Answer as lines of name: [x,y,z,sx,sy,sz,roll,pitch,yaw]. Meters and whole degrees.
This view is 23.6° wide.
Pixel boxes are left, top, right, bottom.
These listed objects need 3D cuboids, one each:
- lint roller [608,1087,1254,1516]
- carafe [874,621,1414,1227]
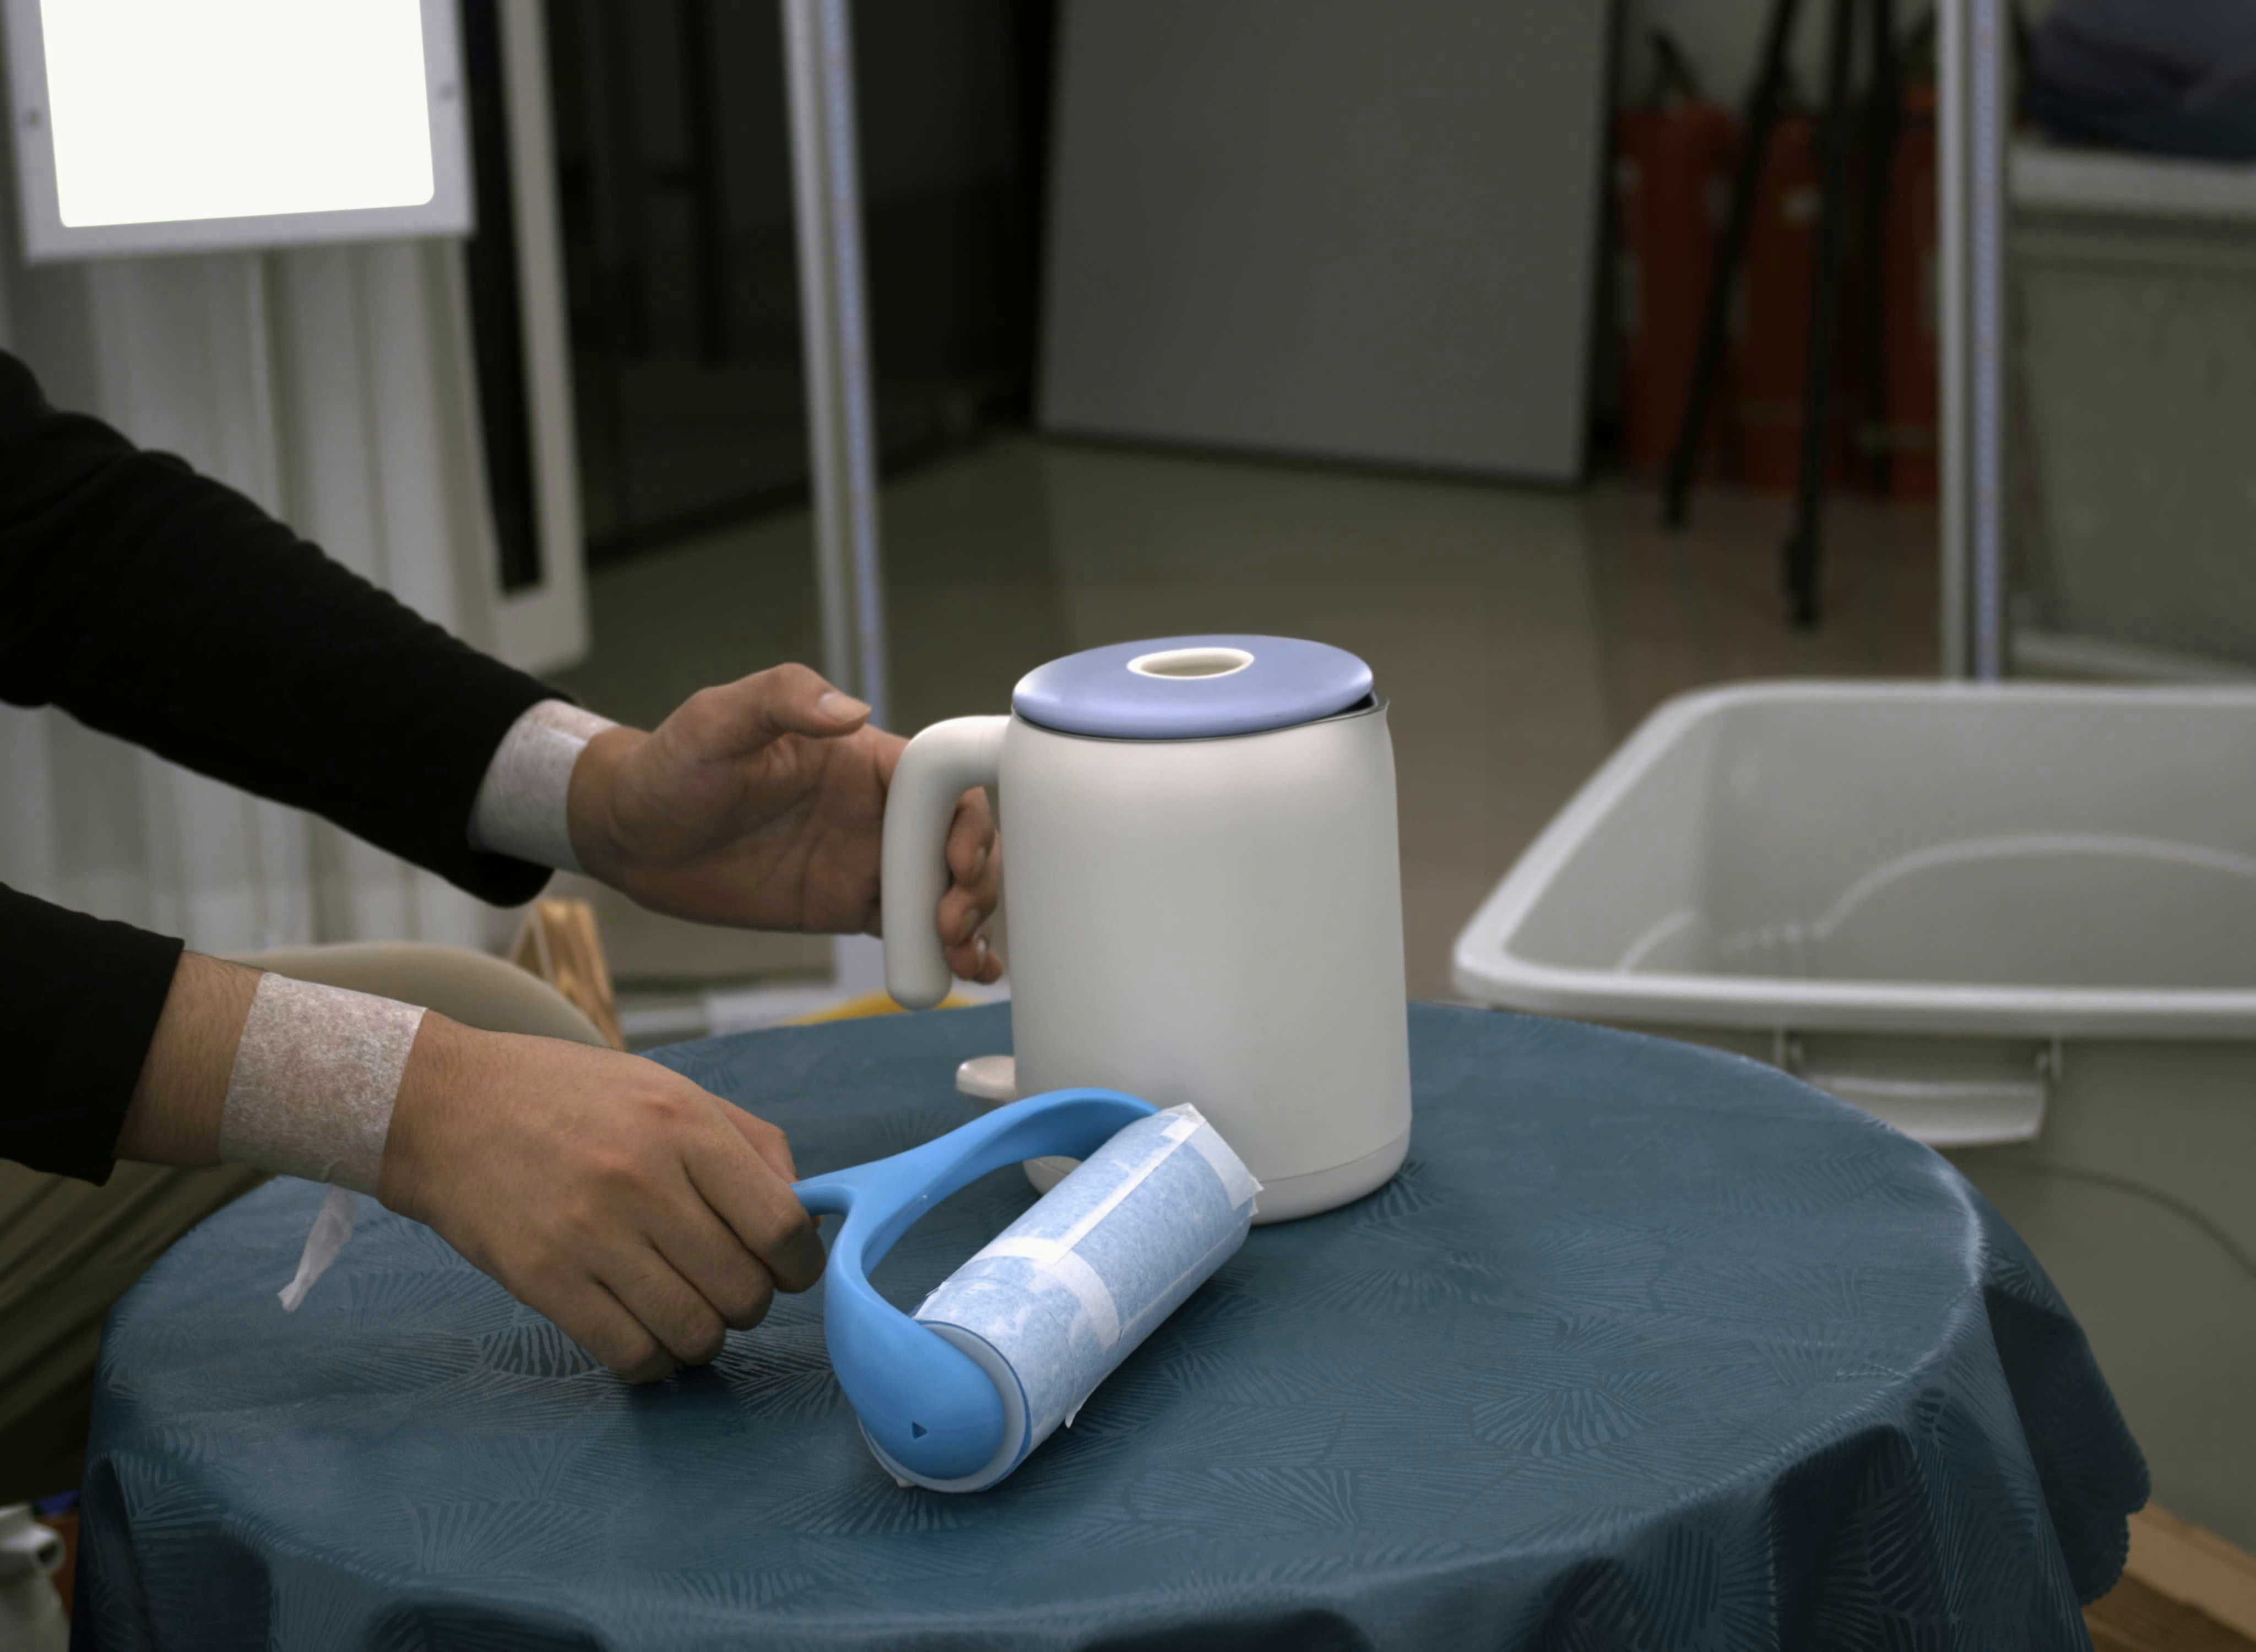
lint roller: [-0.074,0.133,1.614,0.180,0.068,0.227,8,20,18]
carafe: [0.003,0.032,1.771,0.191,0.184,0.130,0,13,25]
